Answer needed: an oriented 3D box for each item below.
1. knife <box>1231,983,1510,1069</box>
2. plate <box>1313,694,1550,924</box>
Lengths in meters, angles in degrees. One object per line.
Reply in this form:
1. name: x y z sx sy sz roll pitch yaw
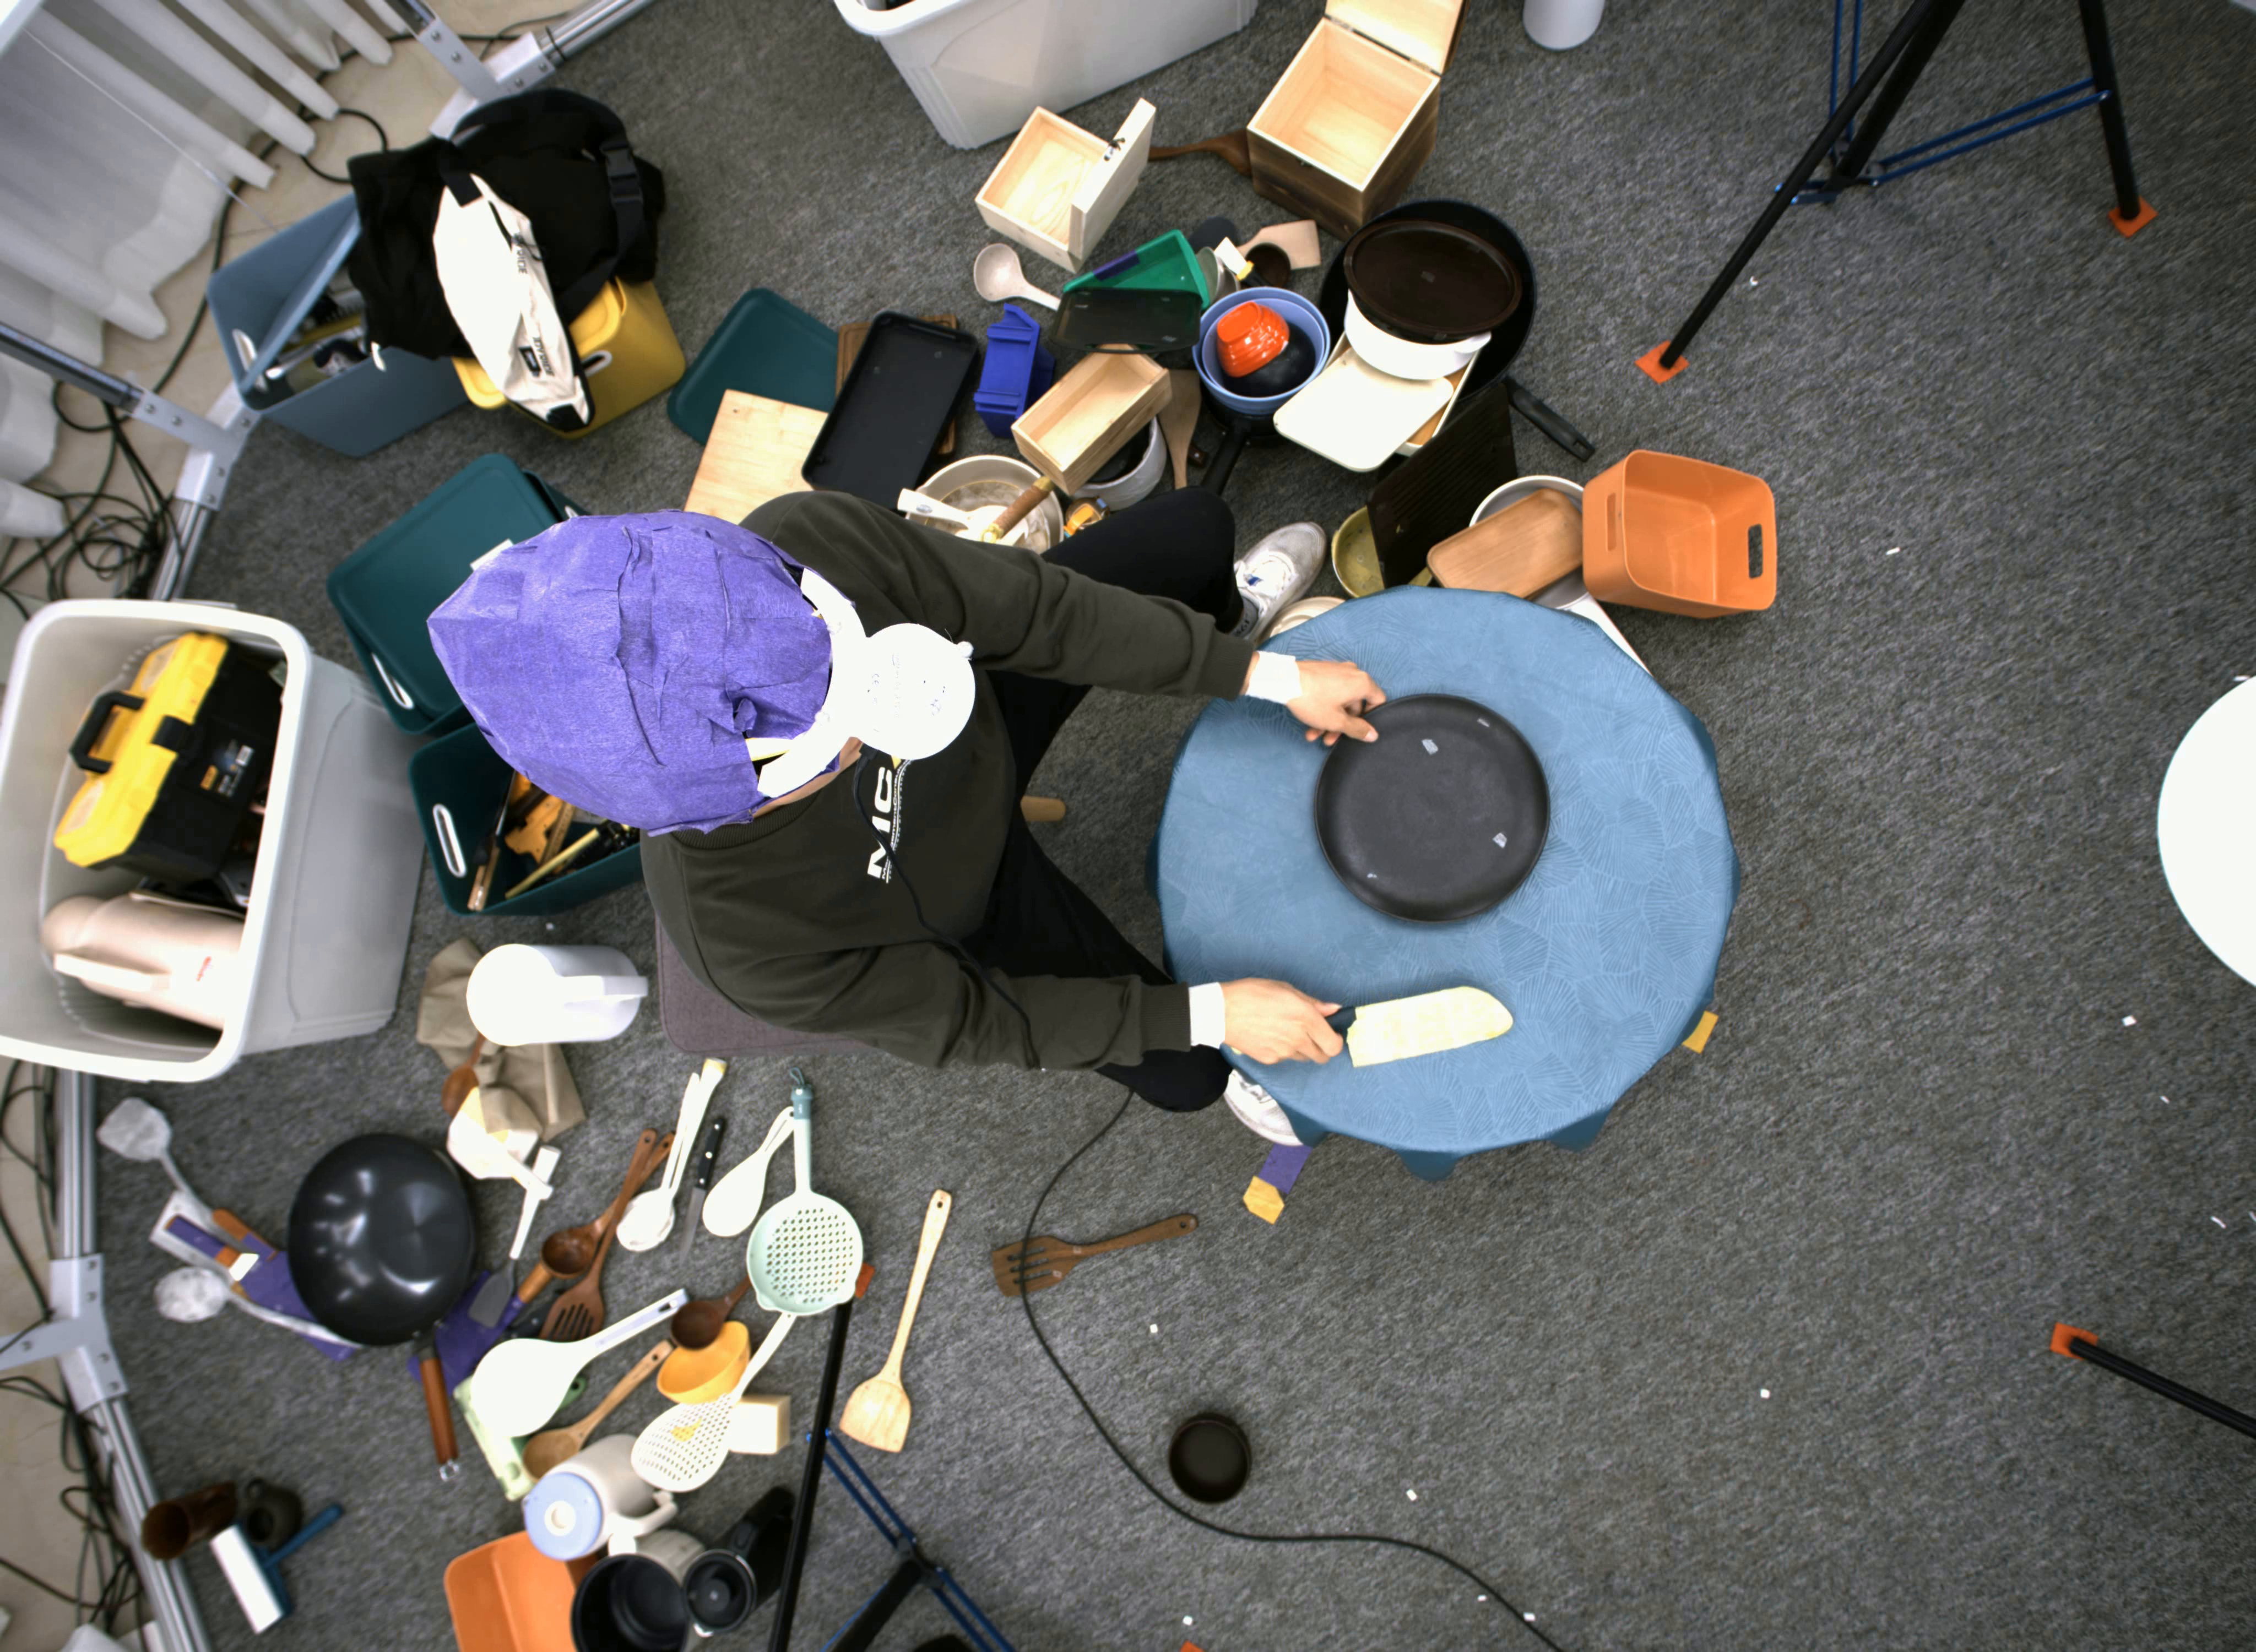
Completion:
1. knife: 0.252 0.213 1.436 0.291 0.027 0.082 -10 110 9
2. plate: 0.318 -0.019 1.444 0.245 0.023 0.243 -1 87 11
